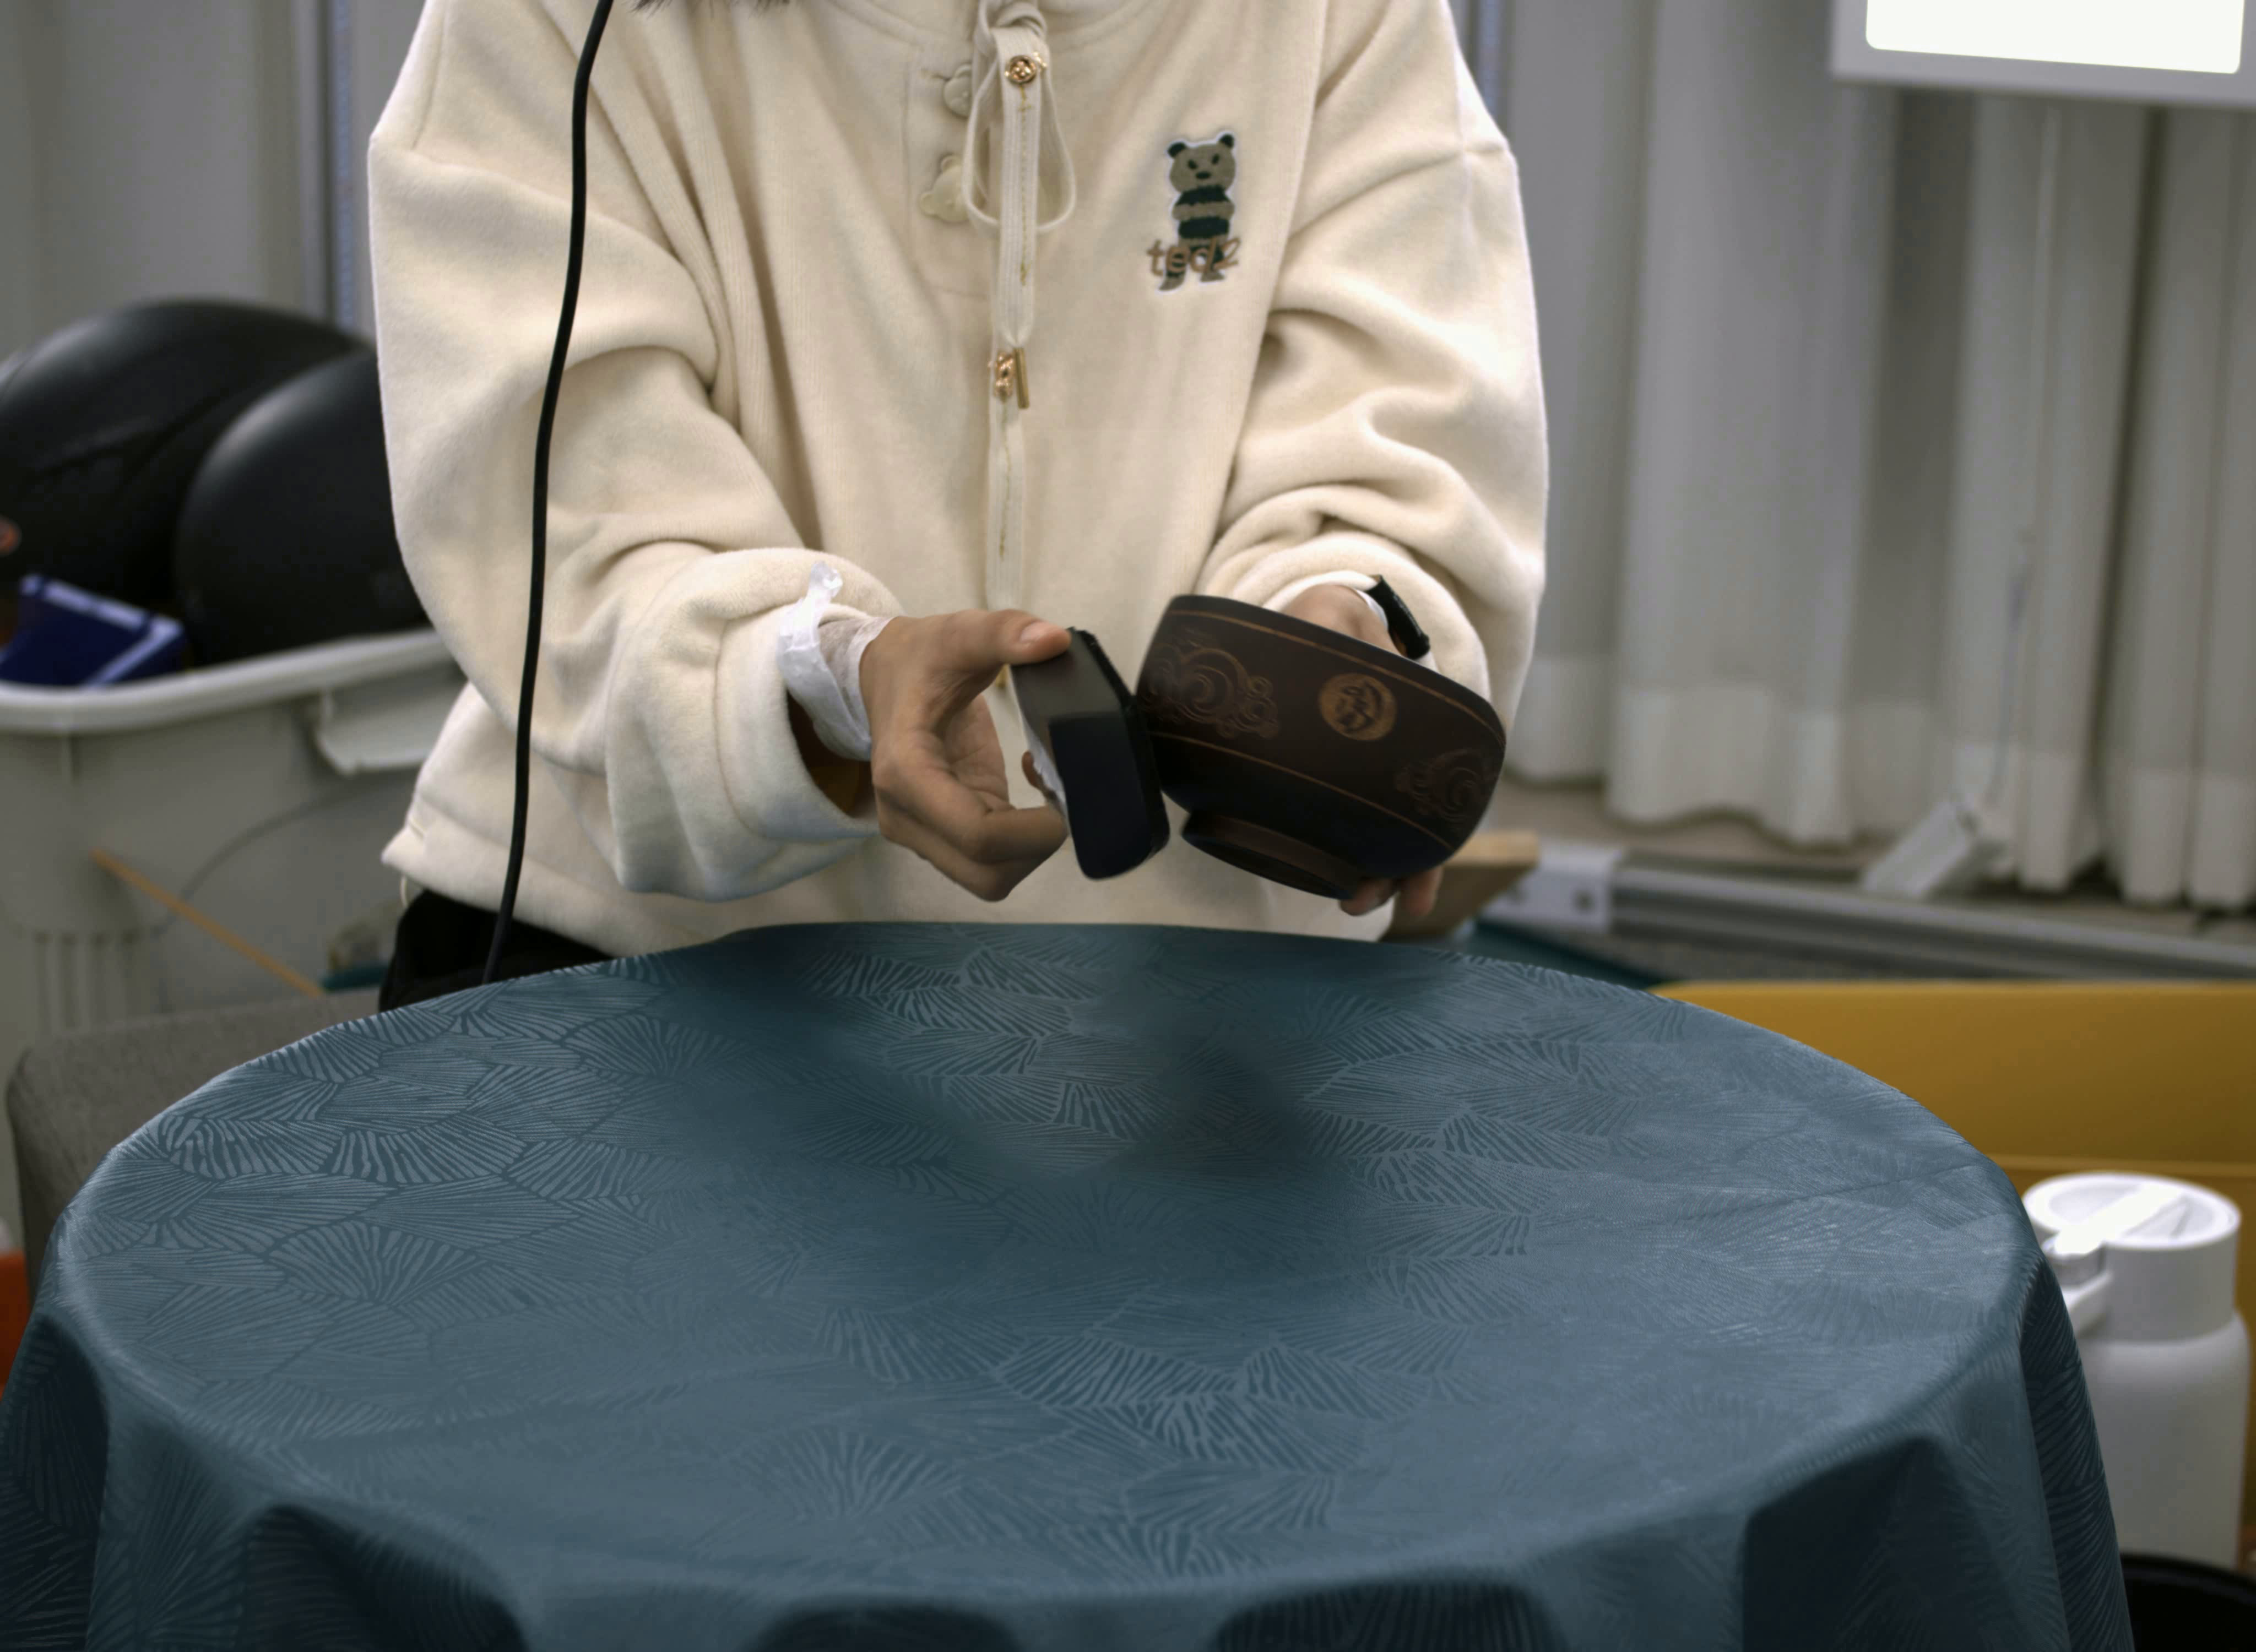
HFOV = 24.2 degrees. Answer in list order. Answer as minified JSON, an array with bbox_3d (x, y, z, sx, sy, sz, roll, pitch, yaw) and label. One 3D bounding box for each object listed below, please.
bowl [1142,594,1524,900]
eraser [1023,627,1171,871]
[{"bbox_3d":[0.057,-0.019,1.623,0.117,0.070,0.118,19,-8,3],"label":"bowl"},{"bbox_3d":[-0.011,-0.026,1.626,0.030,0.054,0.125,-11,13,-4],"label":"eraser"}]
